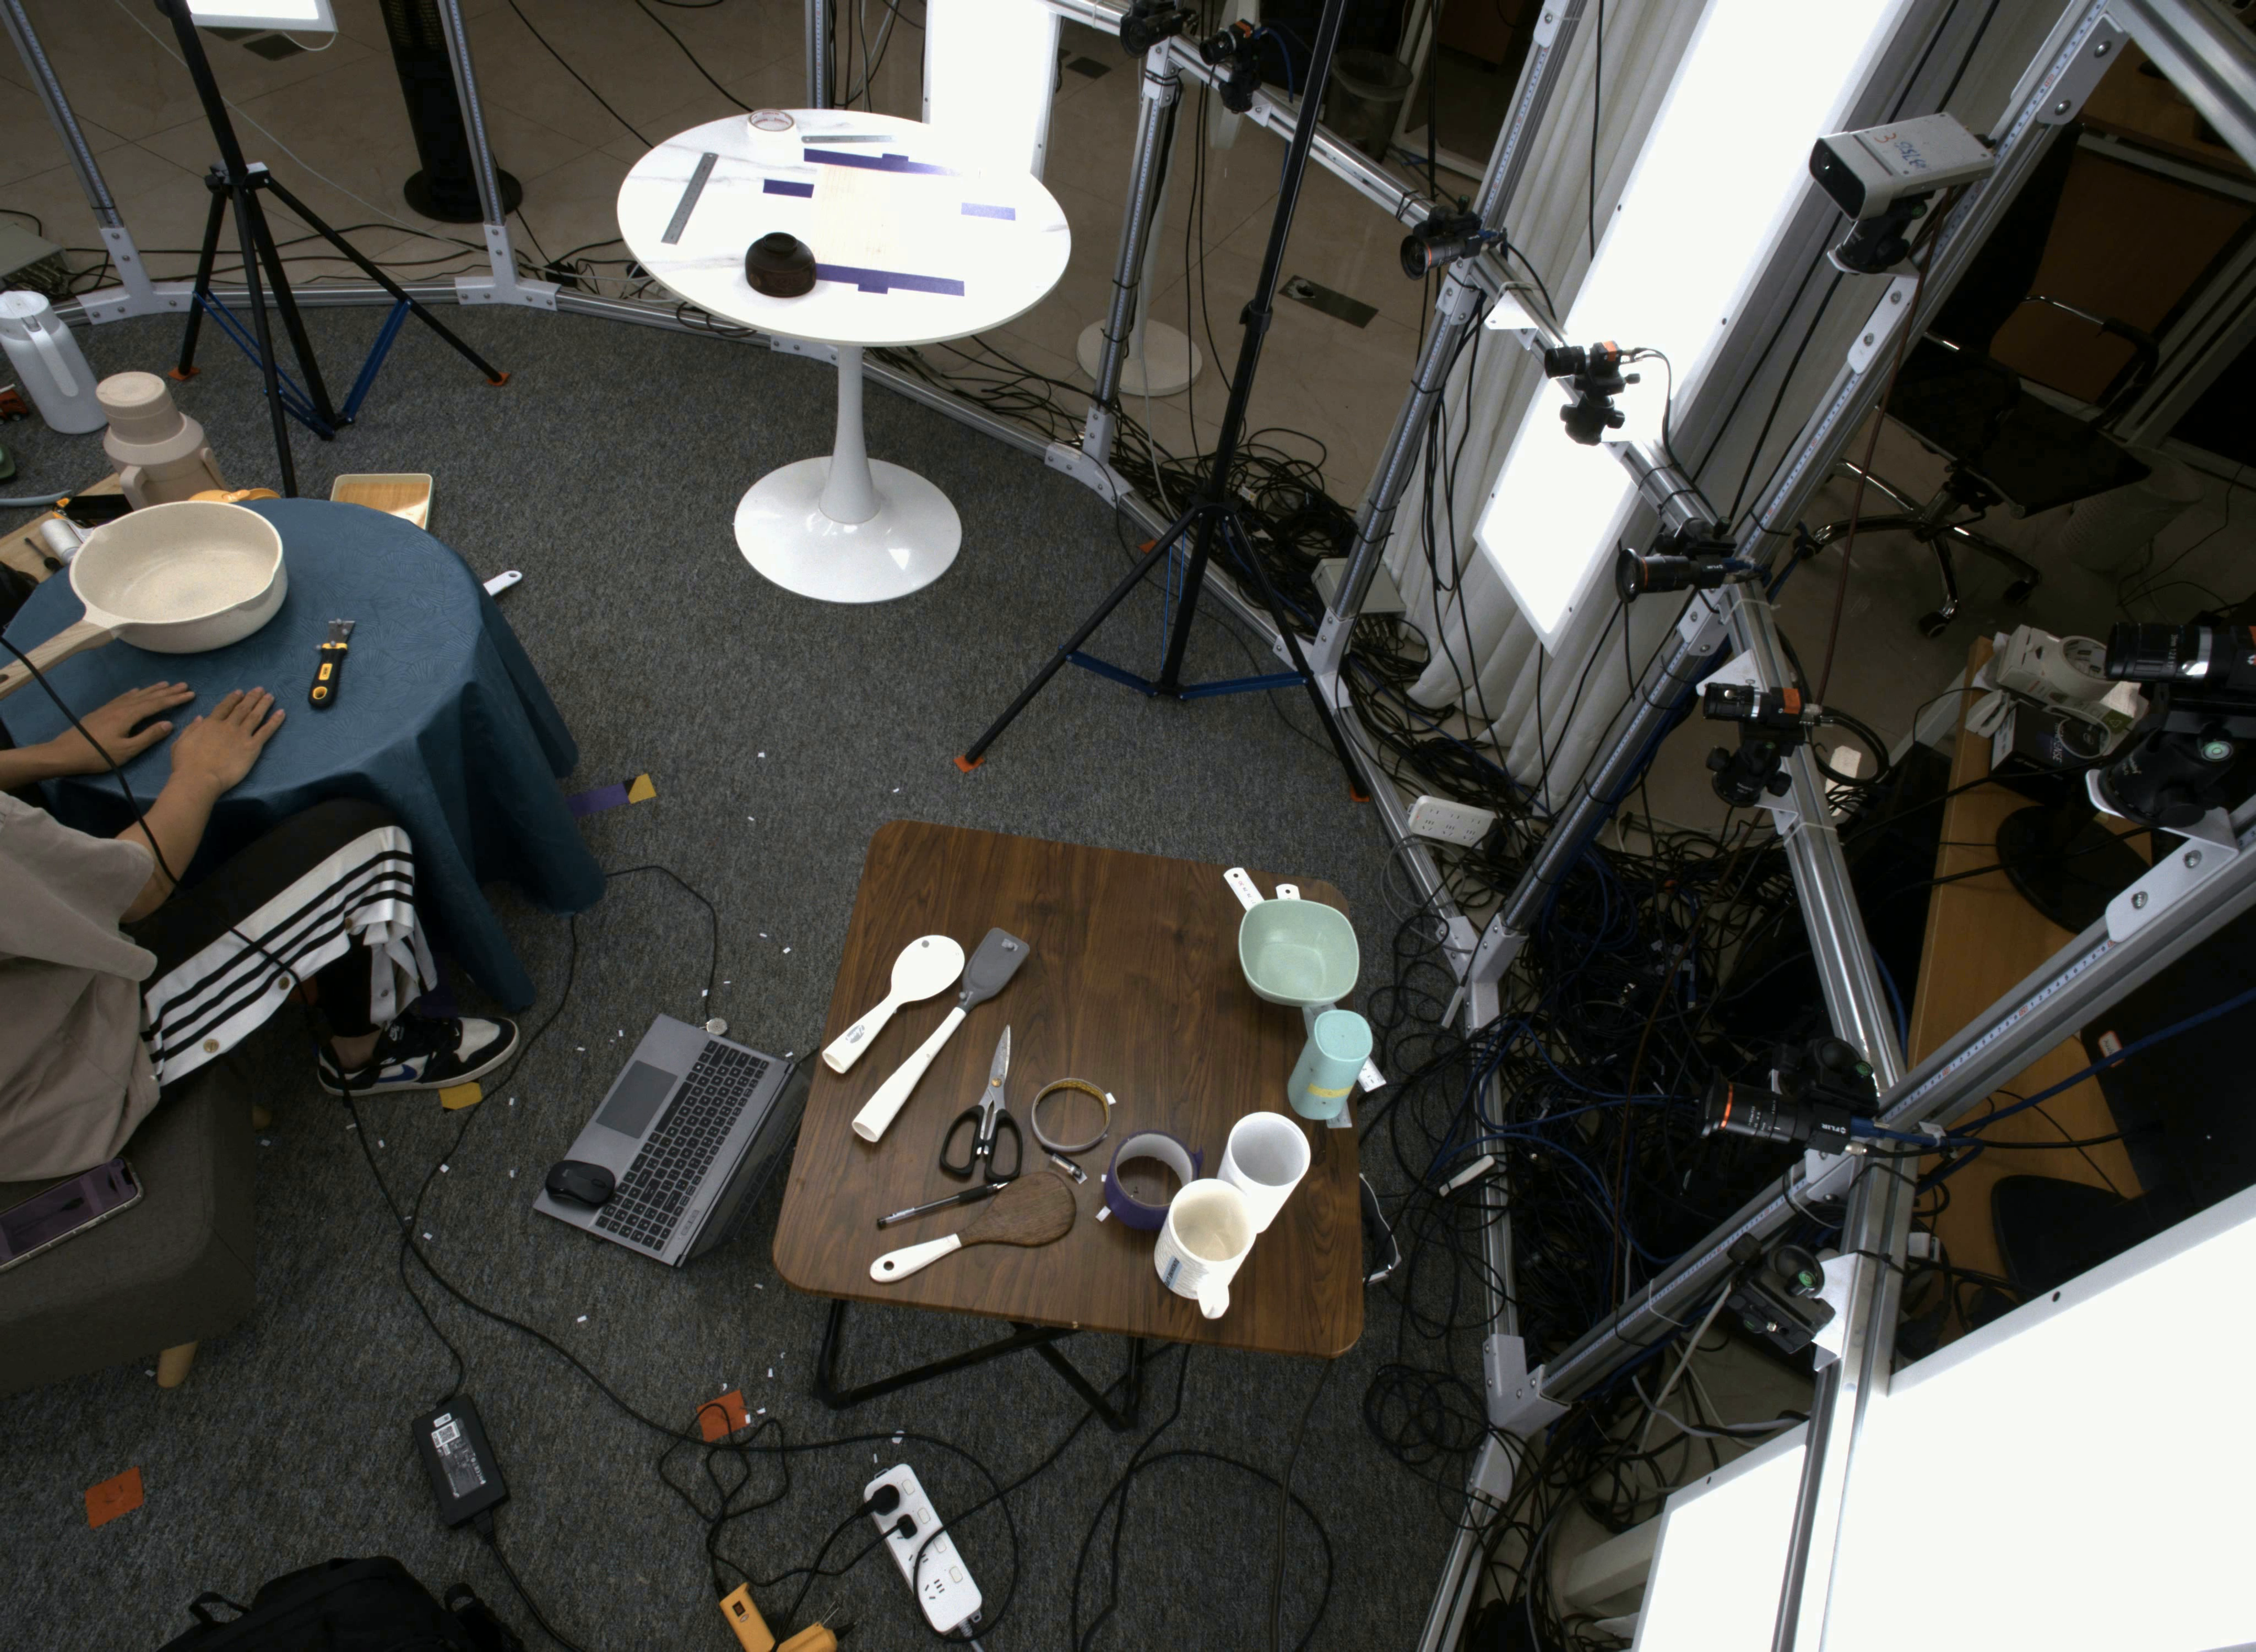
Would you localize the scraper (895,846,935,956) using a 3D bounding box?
[{"bbox_3d":[-0.278,0.094,1.689,0.039,0.015,0.168,11,50,-11],"label":"scraper"}]

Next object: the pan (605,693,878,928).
[{"bbox_3d":[-0.505,-0.002,1.657,0.259,0.104,0.434,33,54,9],"label":"pan"}]
